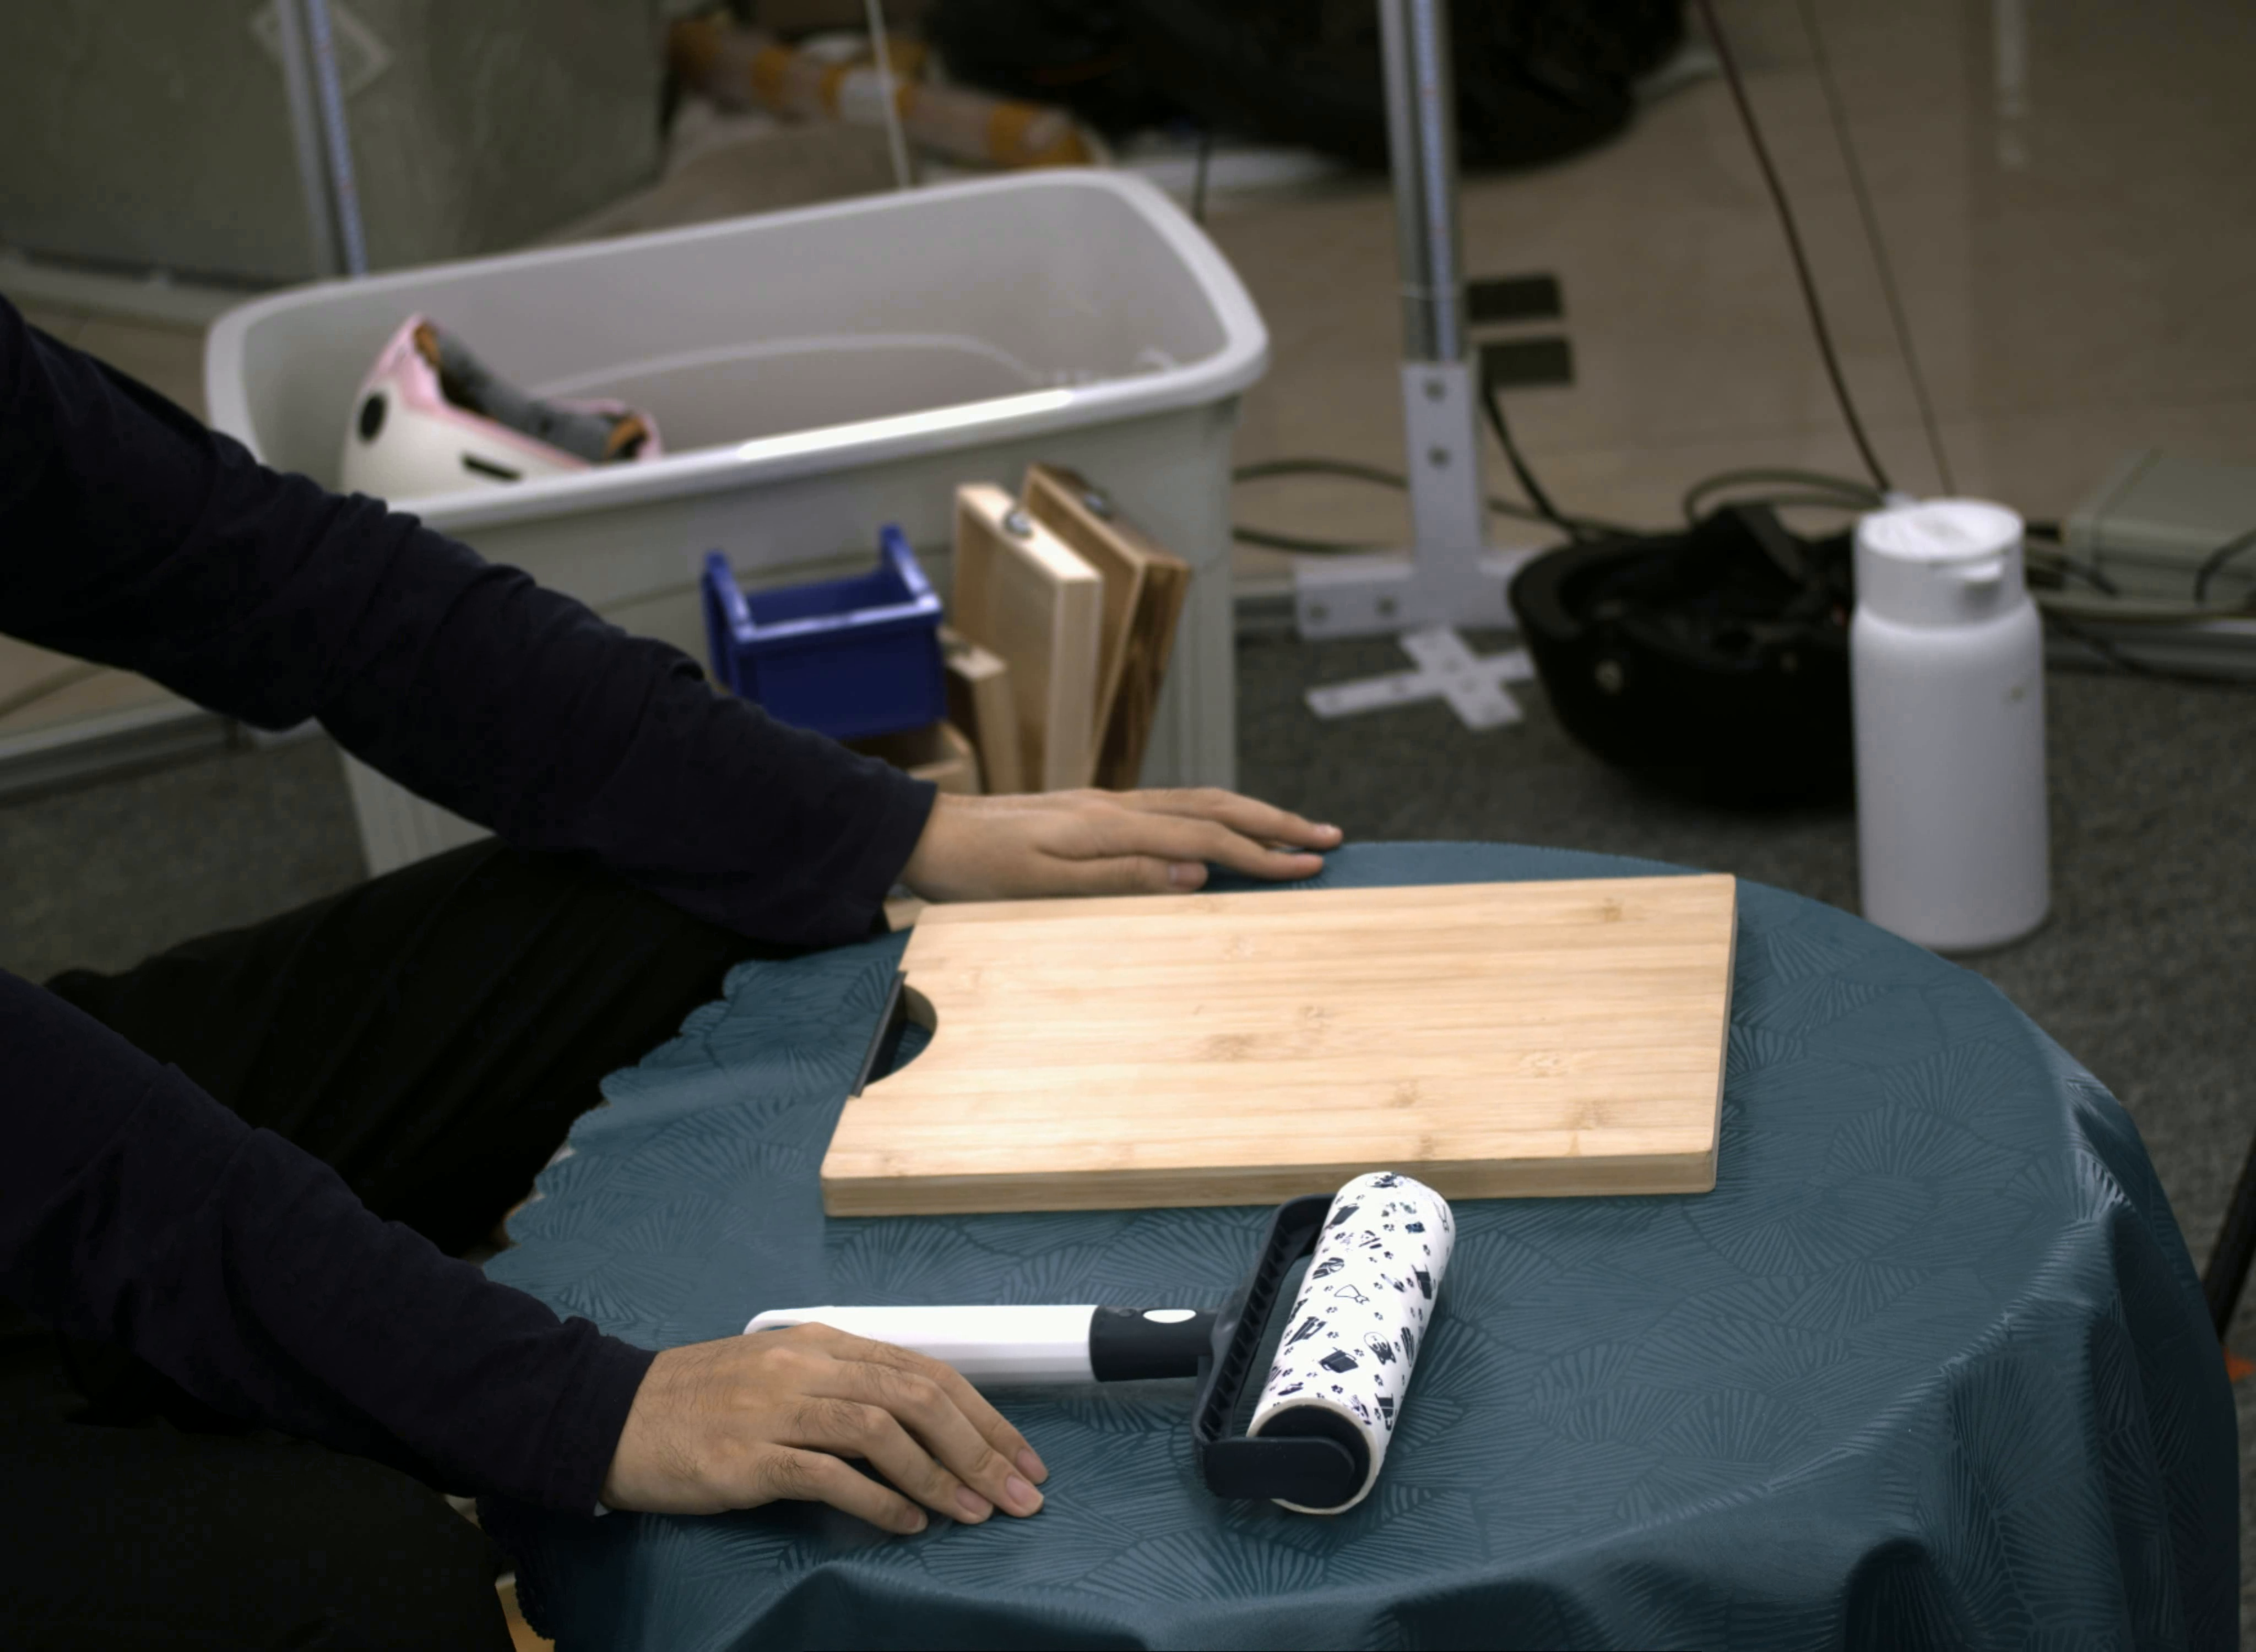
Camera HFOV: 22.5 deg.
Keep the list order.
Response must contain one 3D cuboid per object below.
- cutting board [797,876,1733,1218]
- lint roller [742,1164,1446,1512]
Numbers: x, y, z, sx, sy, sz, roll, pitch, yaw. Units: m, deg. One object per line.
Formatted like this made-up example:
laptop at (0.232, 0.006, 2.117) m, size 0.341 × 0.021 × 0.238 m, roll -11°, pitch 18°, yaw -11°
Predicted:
cutting board at (0.060, 0.086, 2.233) m, size 0.348 × 0.024 × 0.247 m, roll -2°, pitch 25°, yaw 9°
lint roller at (-0.020, 0.183, 2.012) m, size 0.246 × 0.051 × 0.173 m, roll -3°, pitch 26°, yaw 14°
